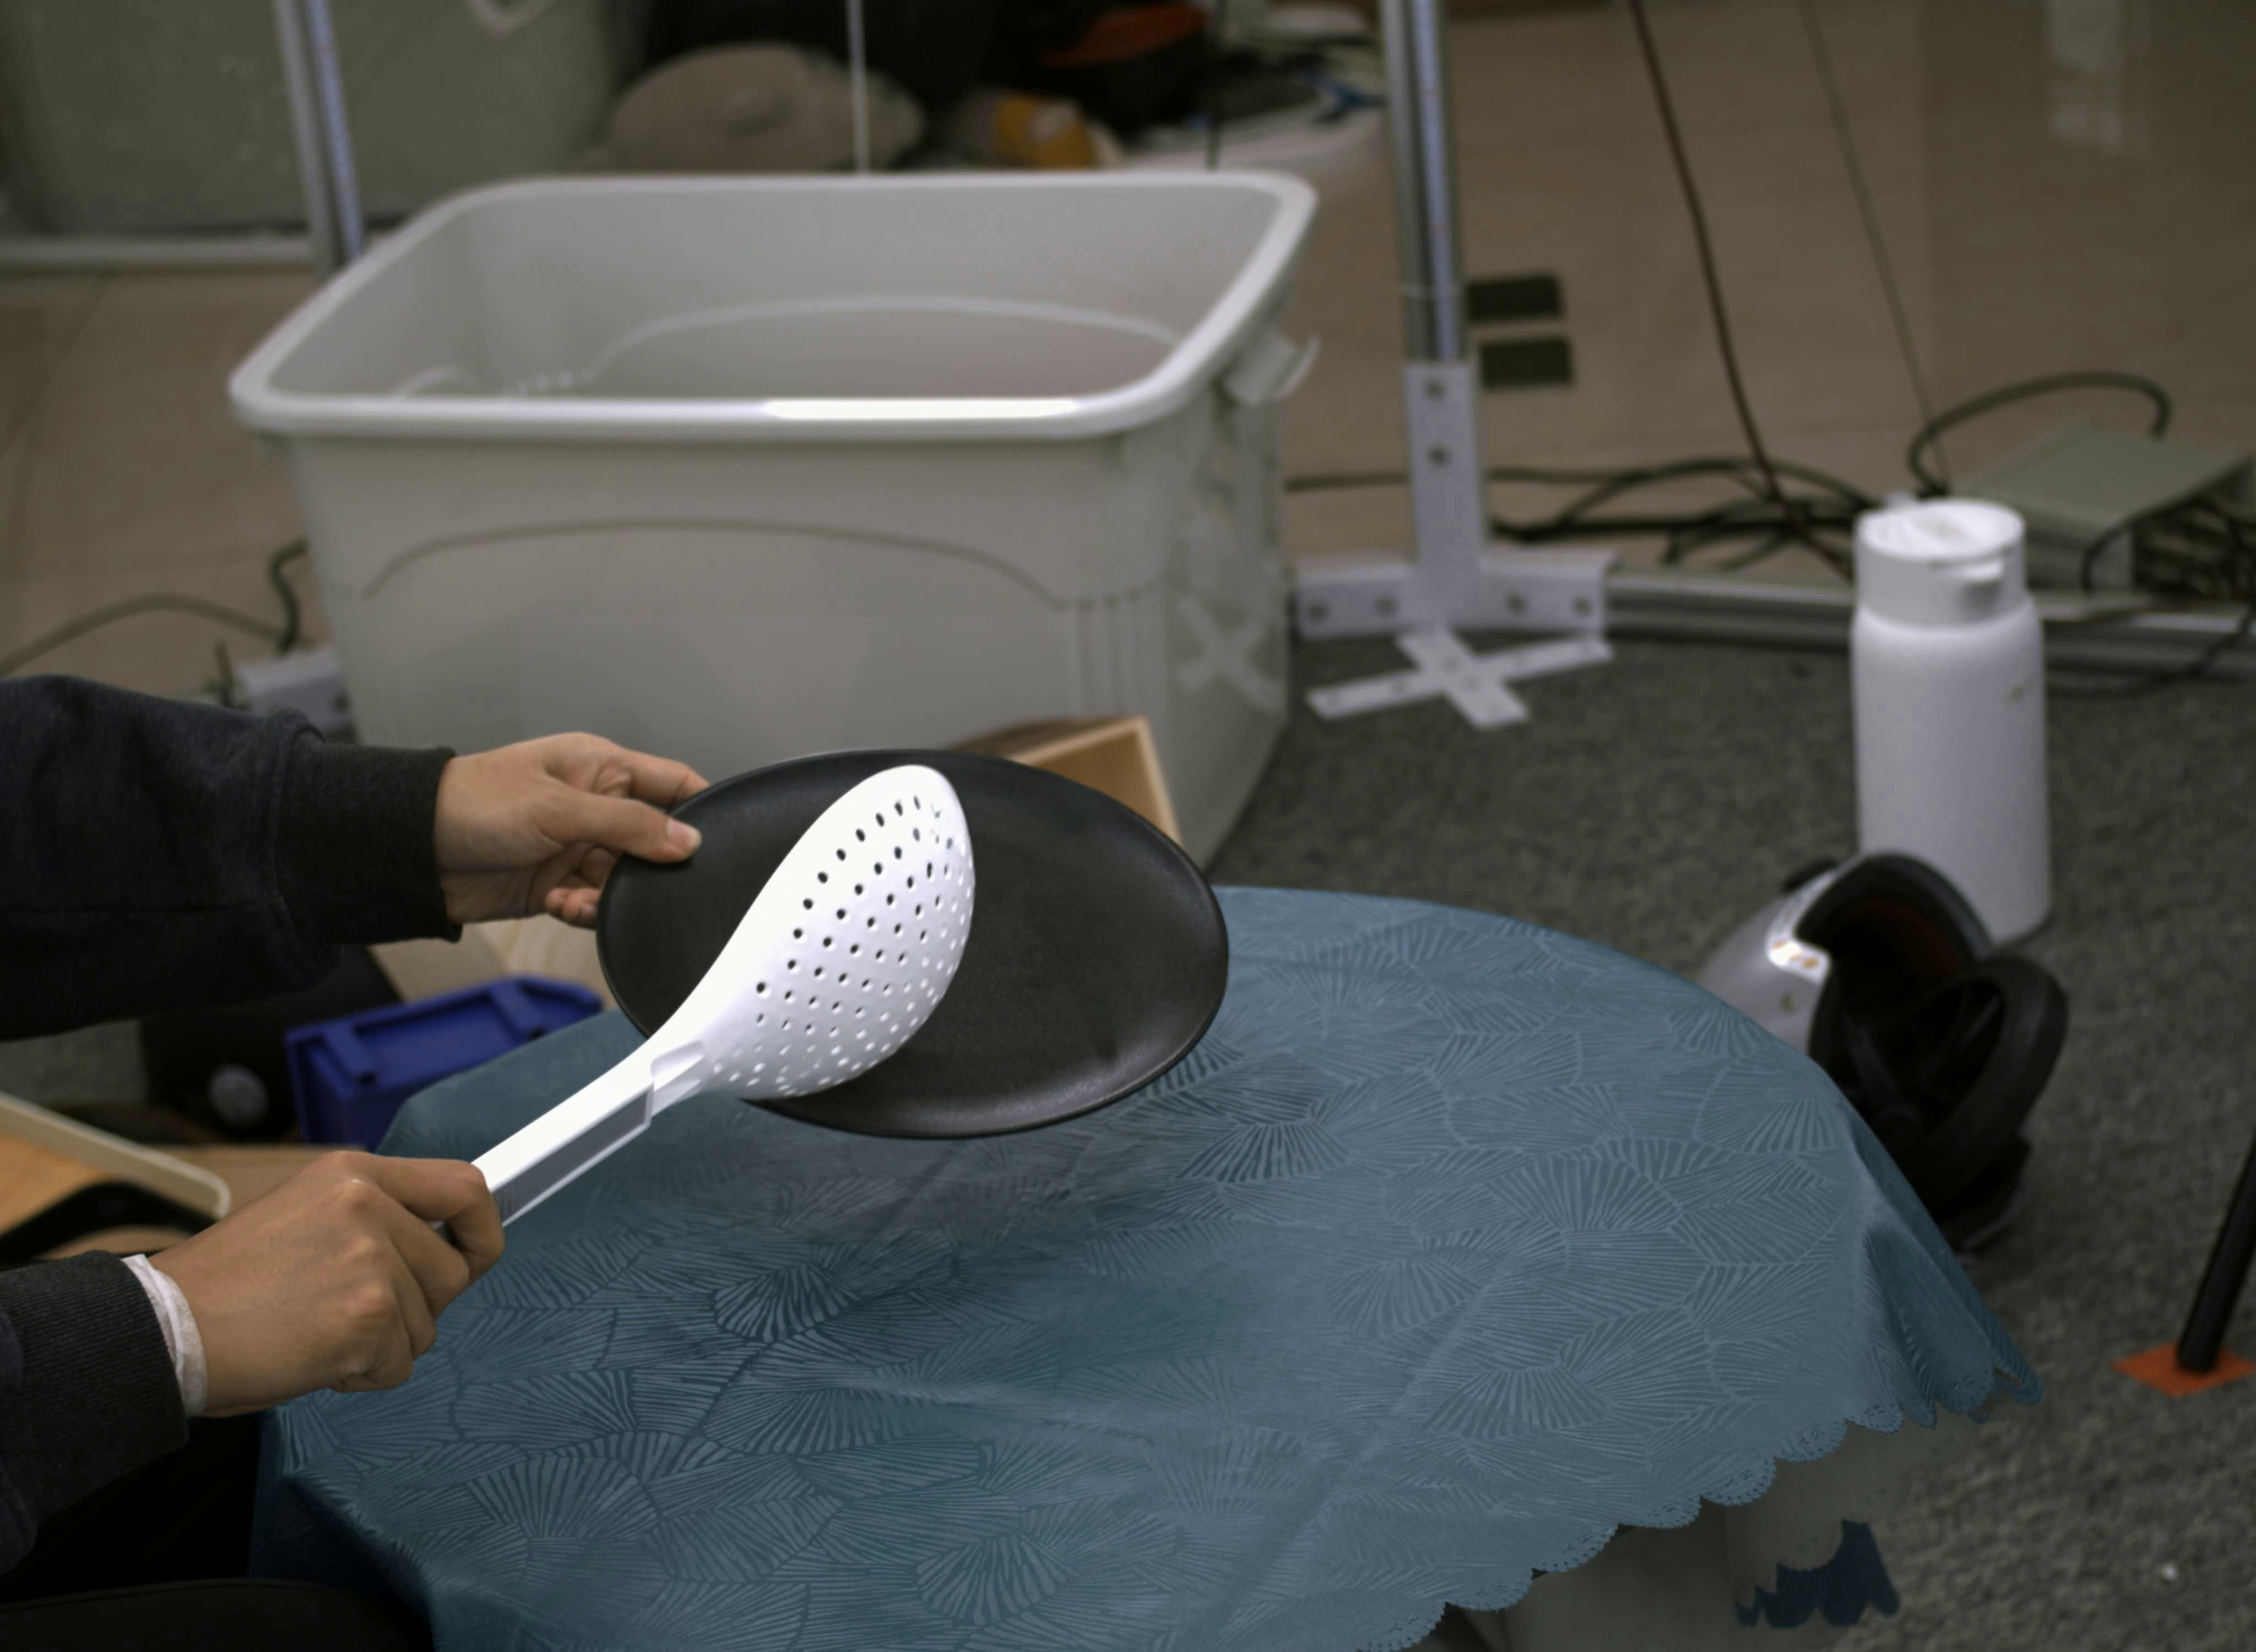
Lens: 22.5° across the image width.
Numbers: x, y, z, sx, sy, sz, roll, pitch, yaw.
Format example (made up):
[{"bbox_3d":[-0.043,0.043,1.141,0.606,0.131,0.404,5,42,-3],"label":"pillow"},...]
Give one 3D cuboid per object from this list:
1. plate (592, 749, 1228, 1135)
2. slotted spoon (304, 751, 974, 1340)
[{"bbox_3d":[-0.083,0.049,2.171,0.244,0.024,0.240,4,36,-3],"label":"plate"},{"bbox_3d":[-0.164,0.084,1.996,0.045,0.138,0.346,35,45,27],"label":"slotted spoon"}]
